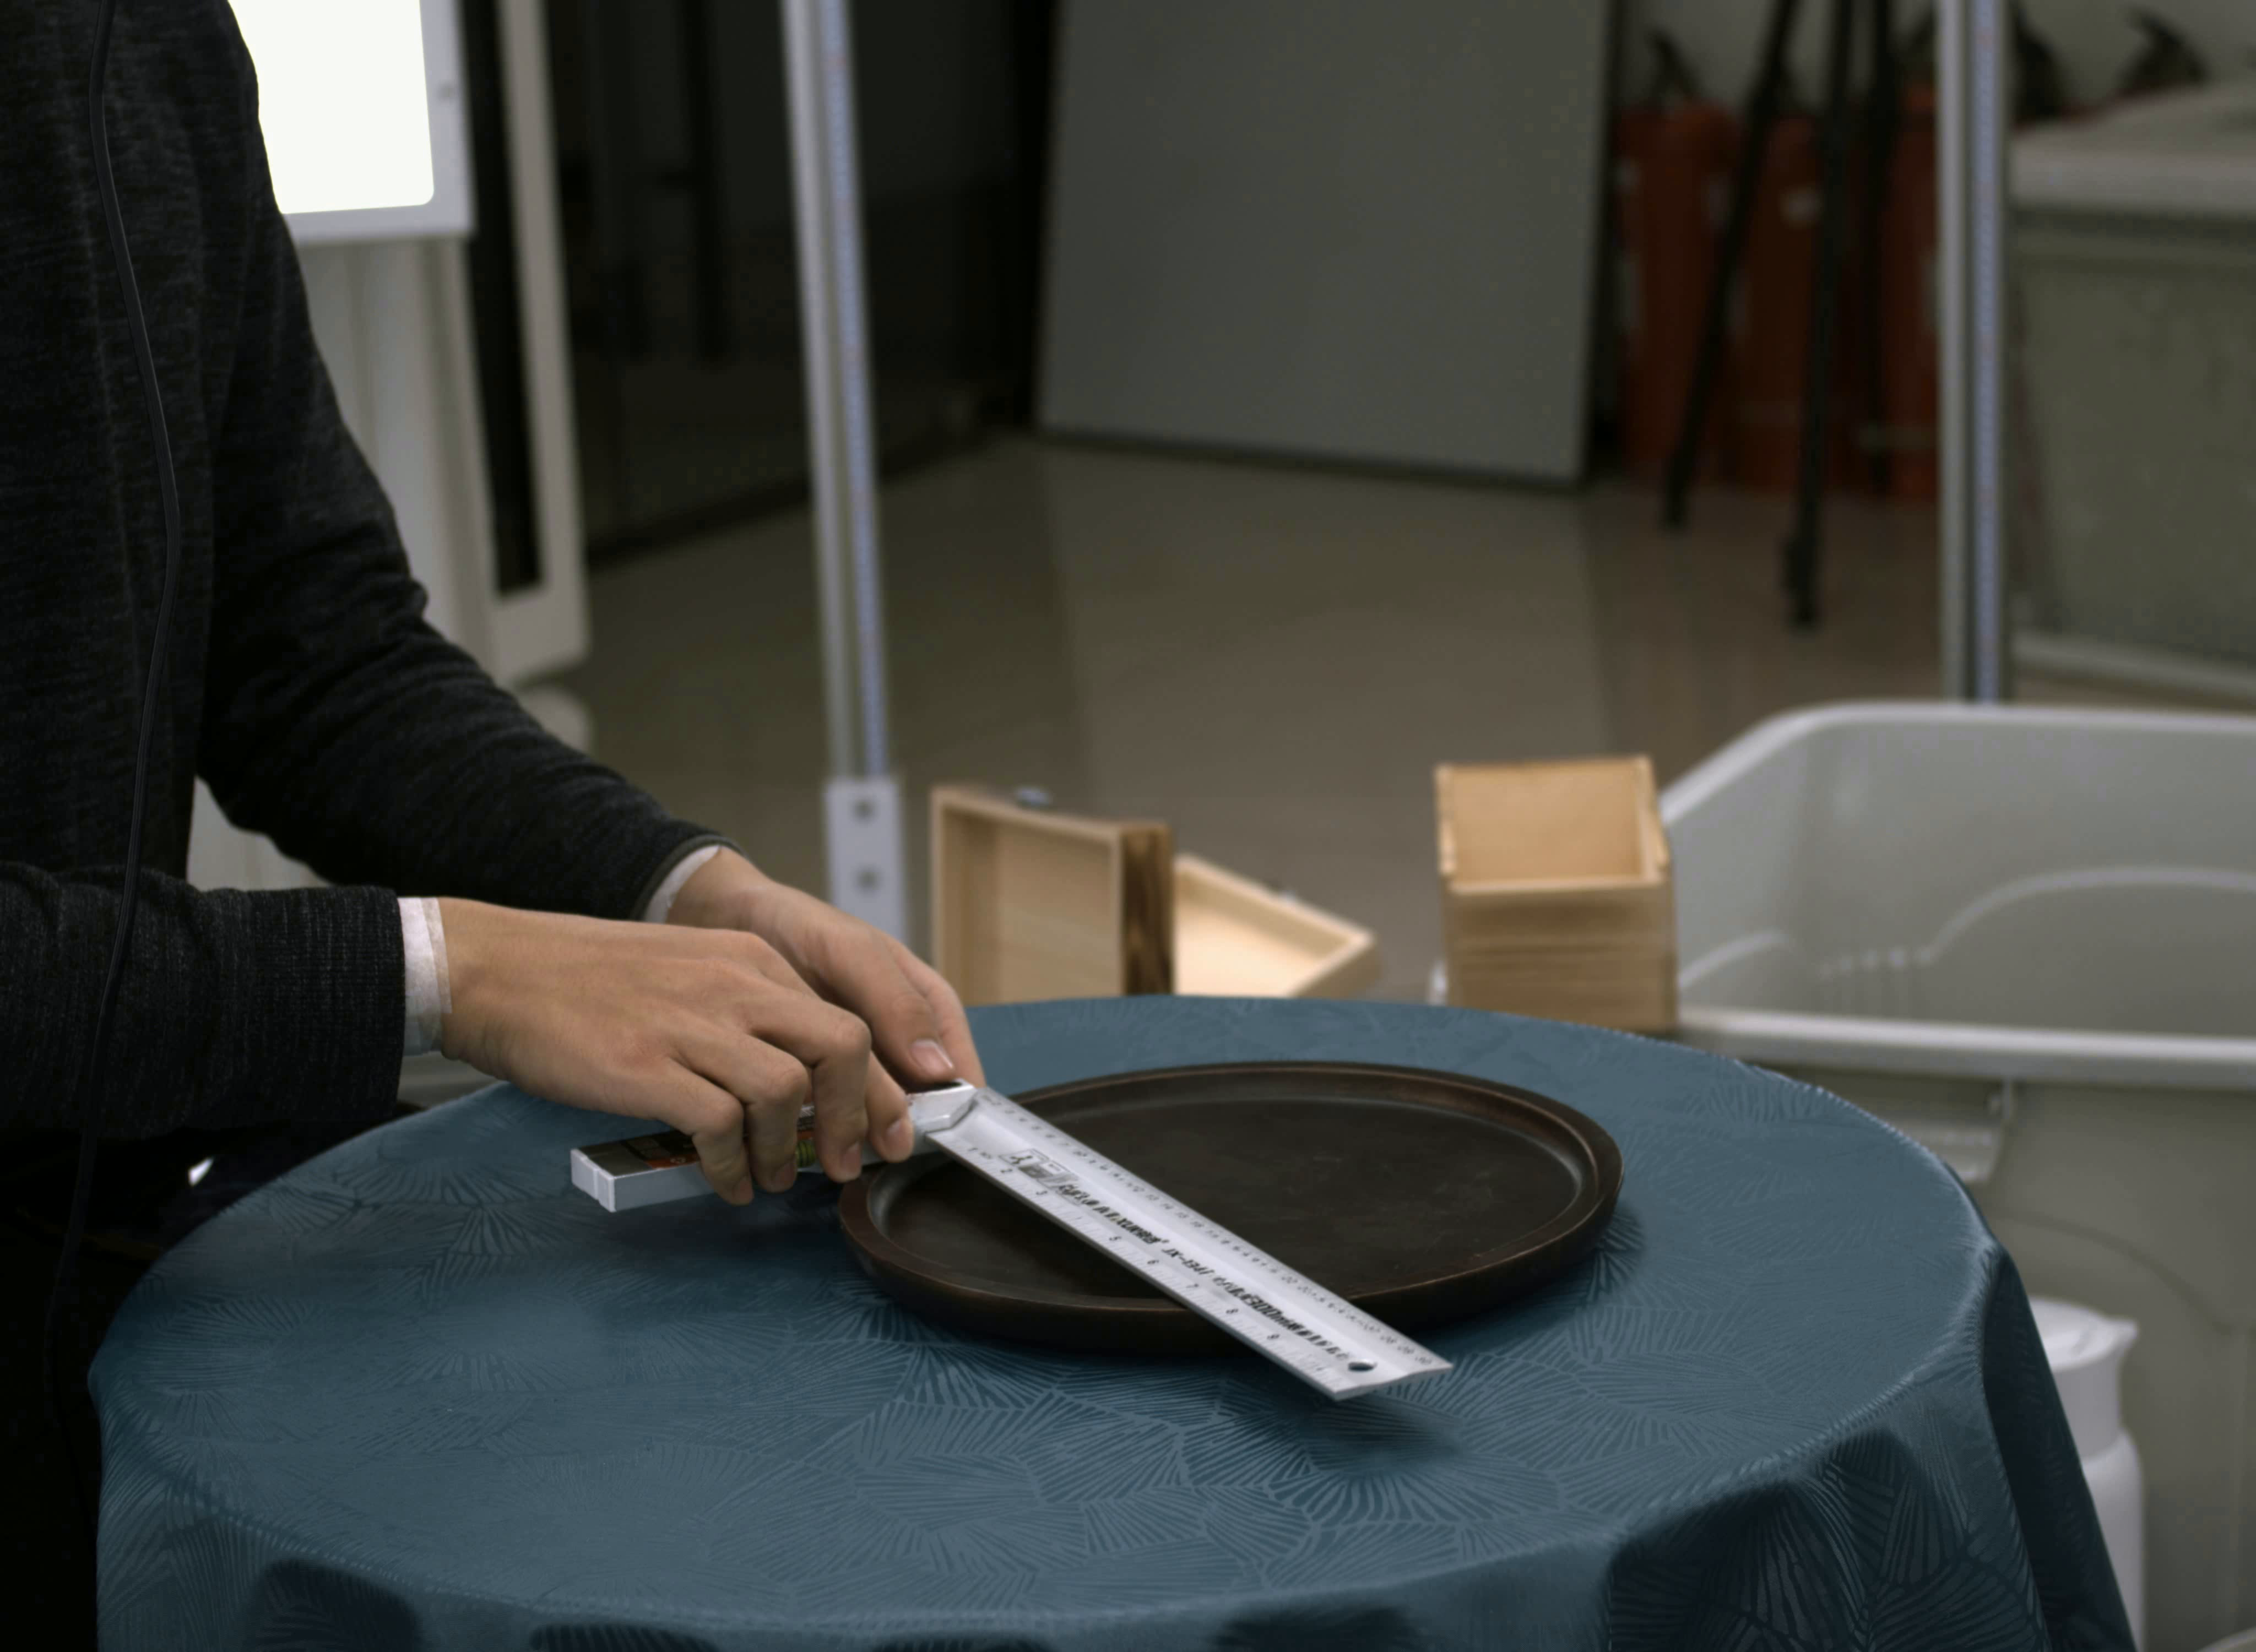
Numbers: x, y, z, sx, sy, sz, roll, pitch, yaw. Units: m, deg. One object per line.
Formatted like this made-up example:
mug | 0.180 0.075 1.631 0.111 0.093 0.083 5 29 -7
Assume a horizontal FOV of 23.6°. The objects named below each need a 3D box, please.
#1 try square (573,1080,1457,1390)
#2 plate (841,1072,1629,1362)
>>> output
try square | -0.042 0.131 1.633 0.149 0.016 0.316 -11 16 -25
plate | 0.034 0.121 1.711 0.251 0.029 0.255 -3 14 0
